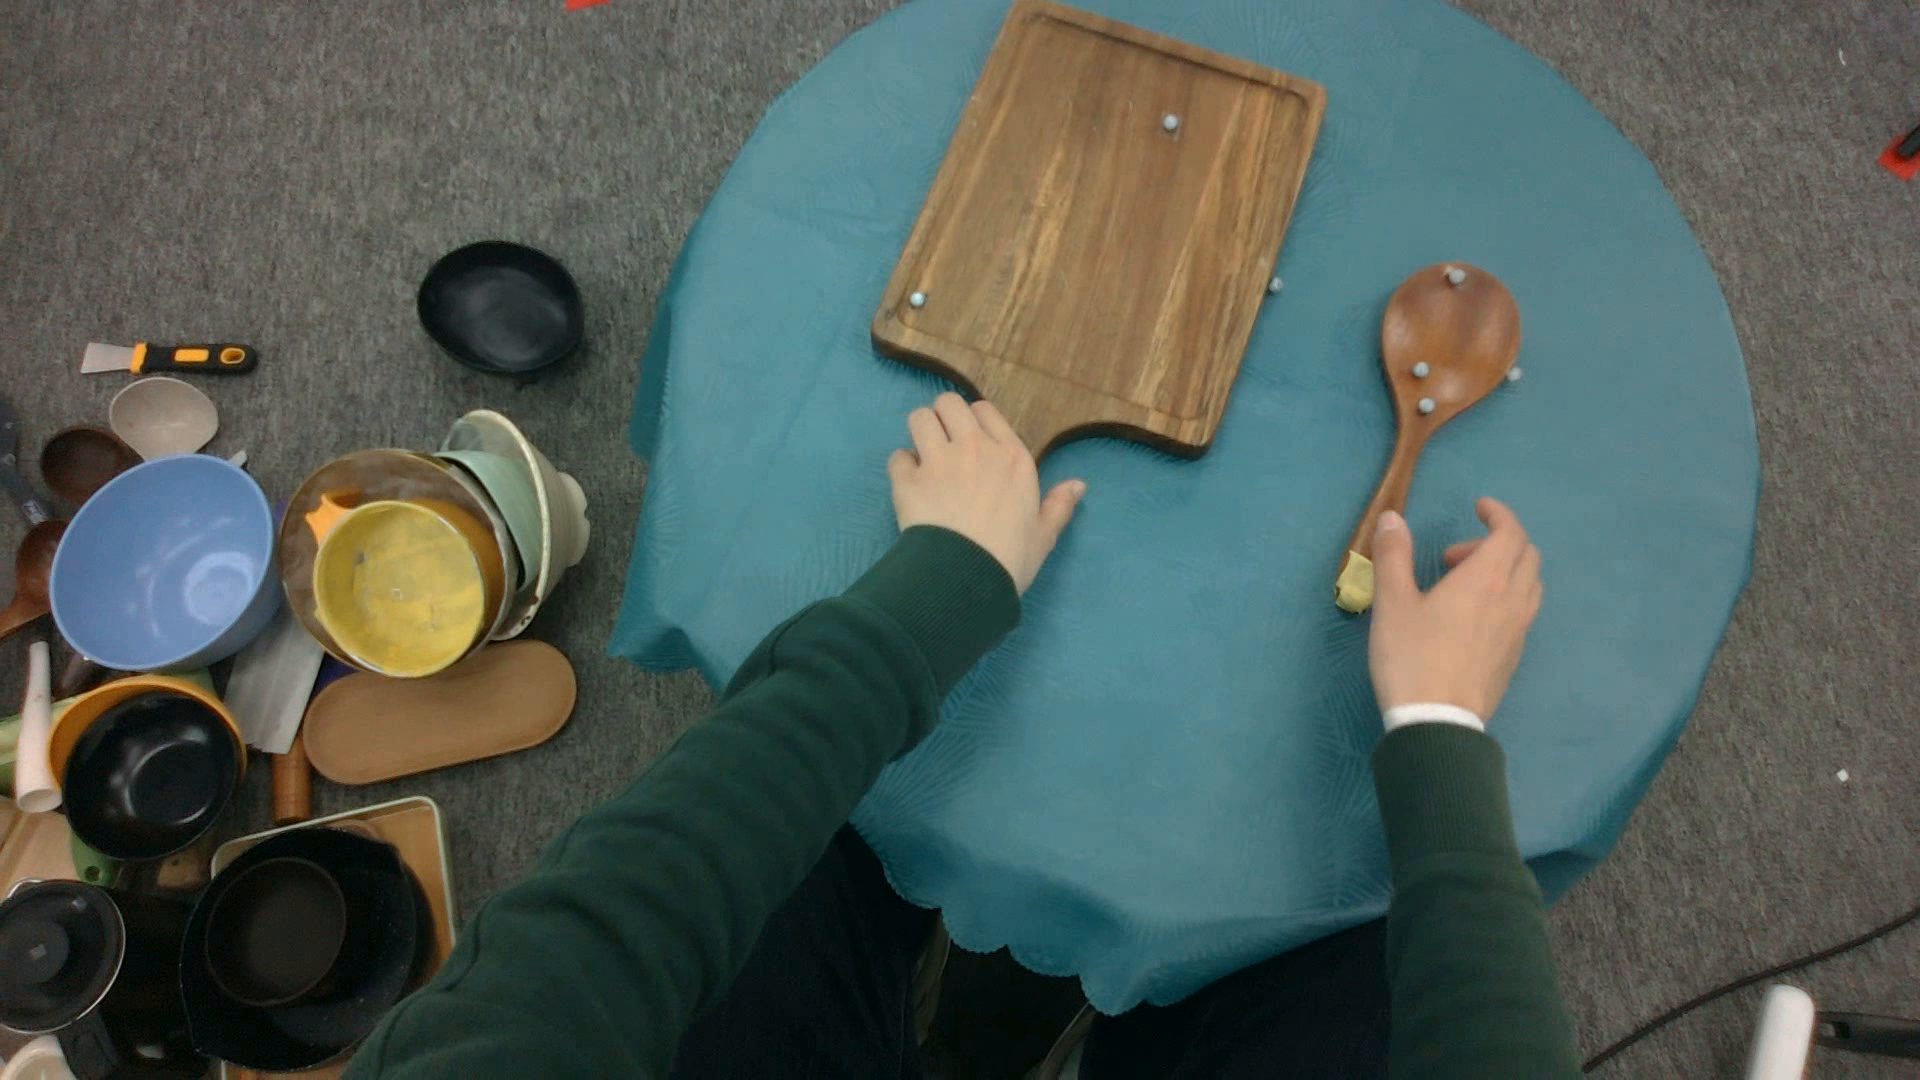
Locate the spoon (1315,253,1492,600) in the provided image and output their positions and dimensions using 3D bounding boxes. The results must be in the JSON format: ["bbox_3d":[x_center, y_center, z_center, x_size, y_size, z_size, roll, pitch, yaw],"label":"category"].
[{"bbox_3d":[0.232,-0.064,0.741,0.075,0.017,0.216,22,69,4],"label":"spoon"}]

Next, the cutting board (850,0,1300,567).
[{"bbox_3d":[0.054,-0.146,0.765,0.201,0.023,0.353,19,70,4],"label":"cutting board"}]
